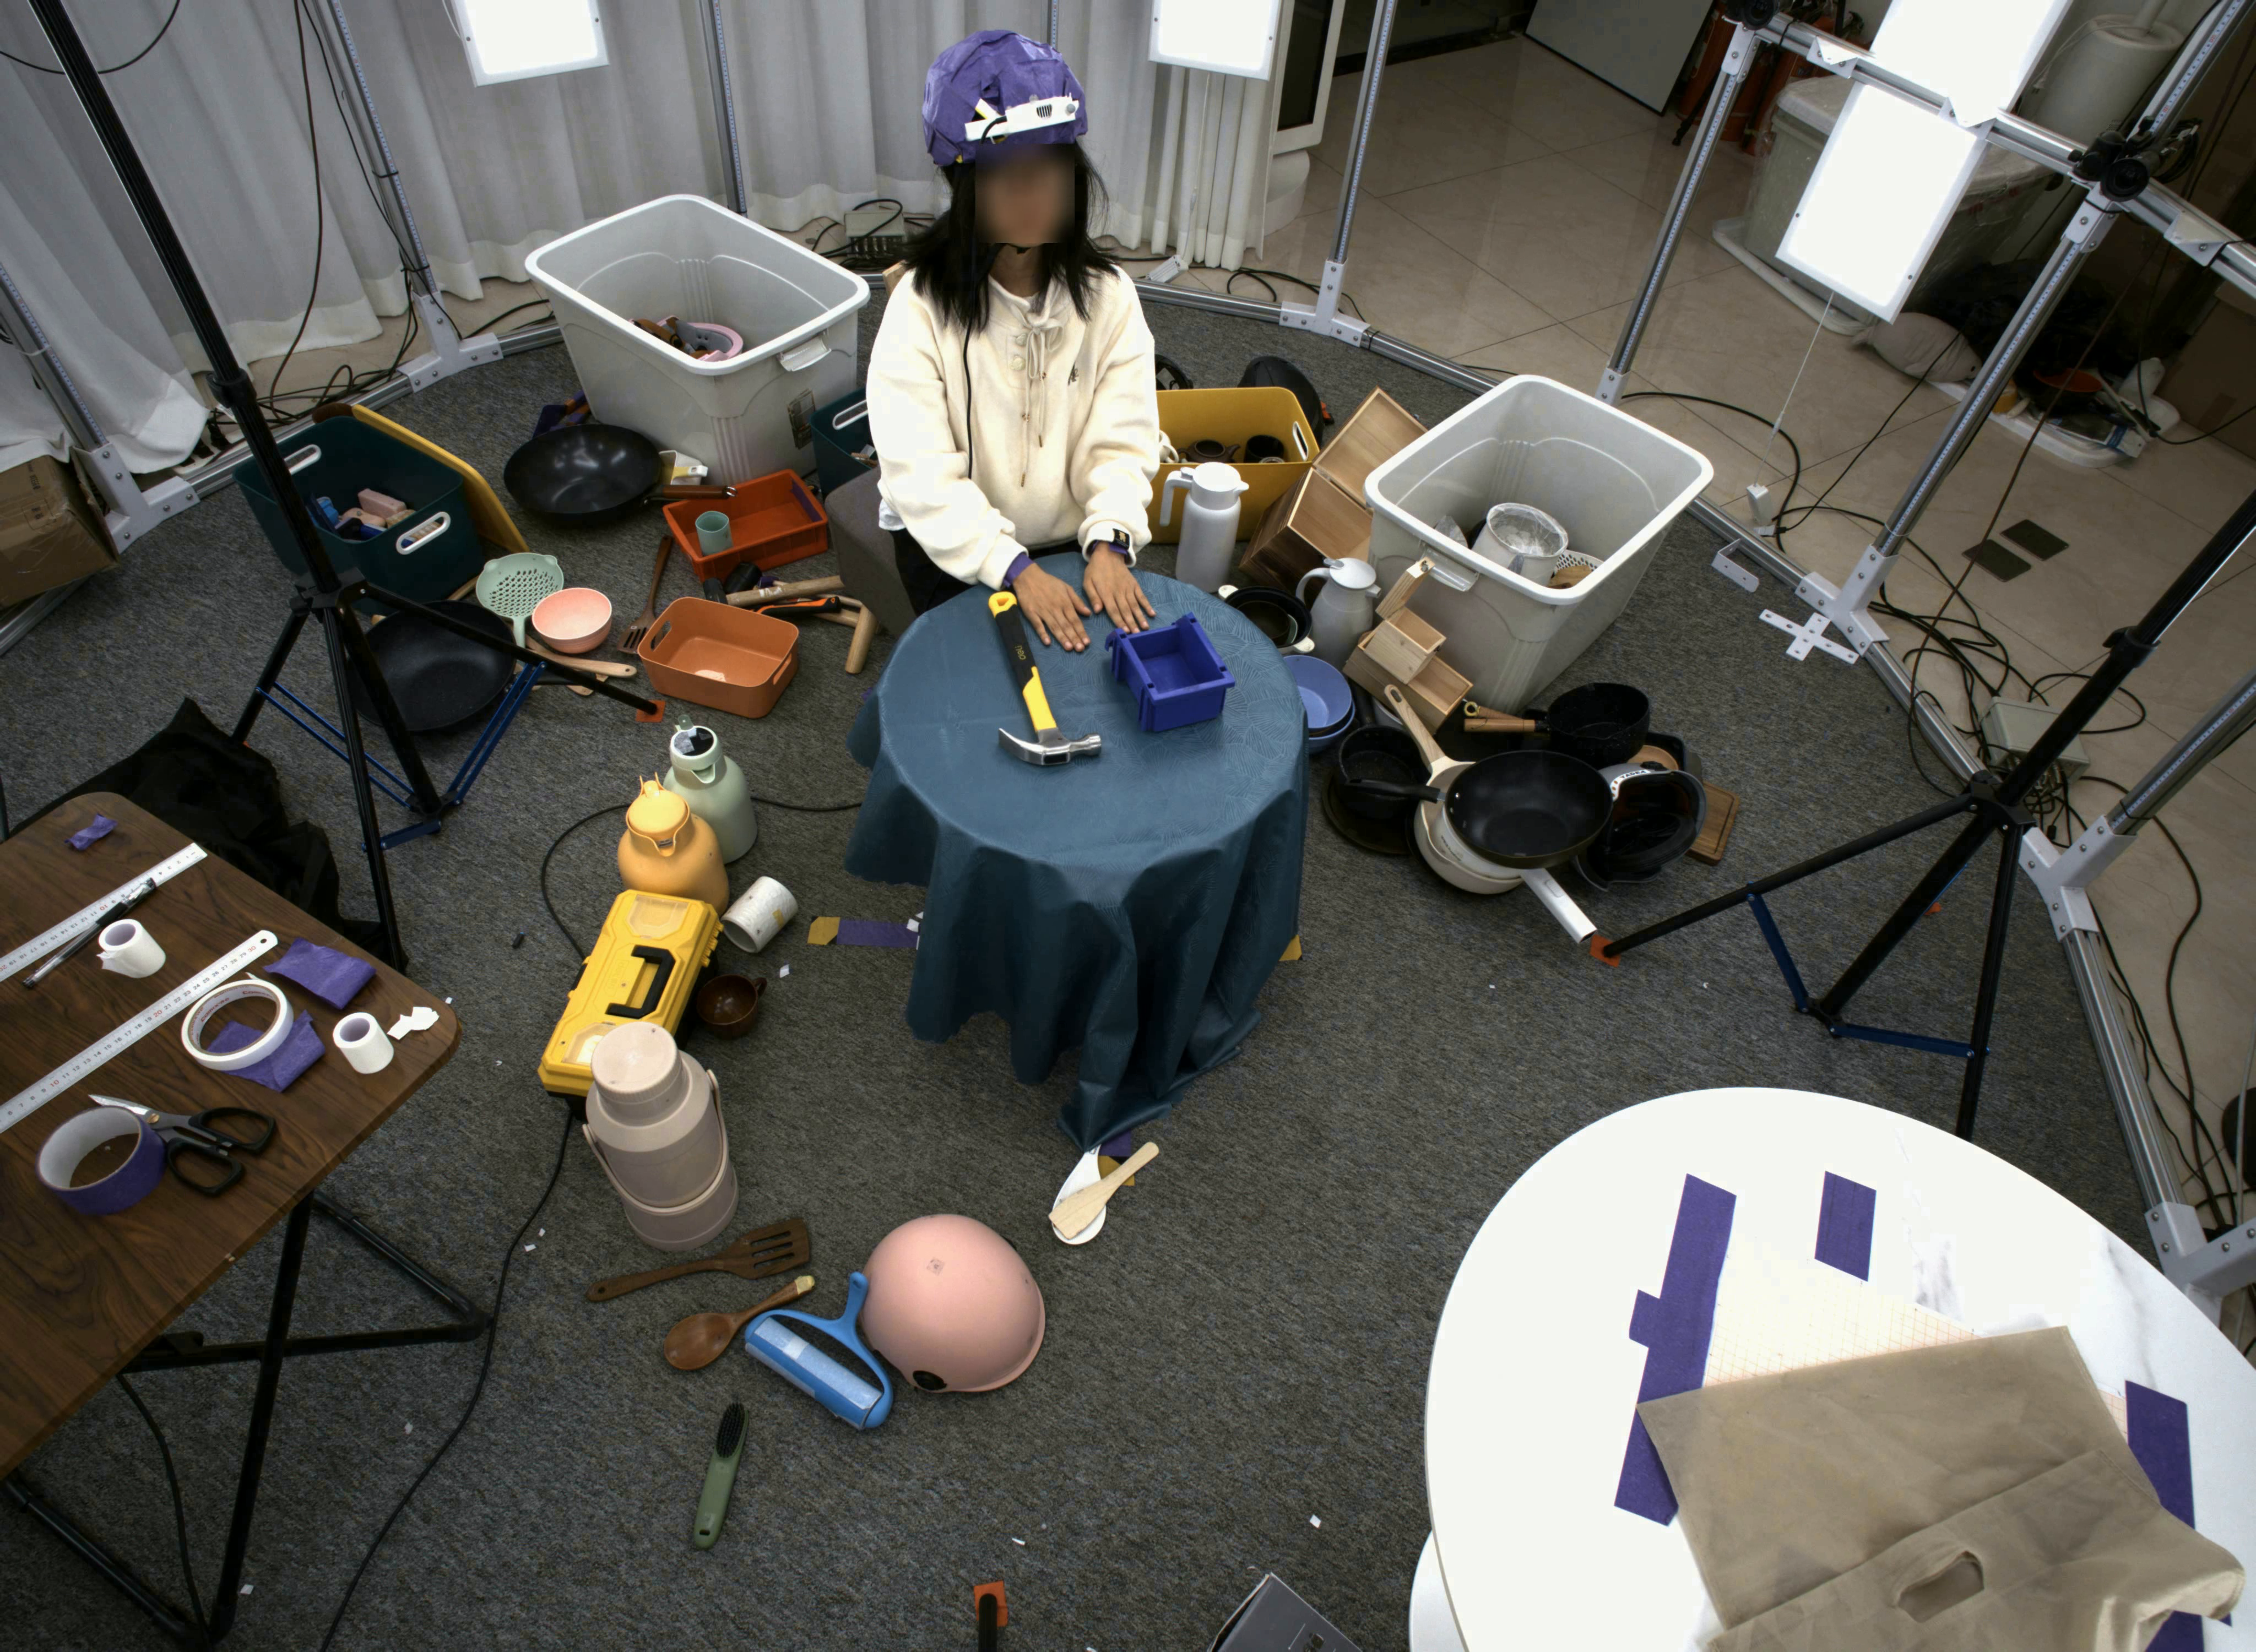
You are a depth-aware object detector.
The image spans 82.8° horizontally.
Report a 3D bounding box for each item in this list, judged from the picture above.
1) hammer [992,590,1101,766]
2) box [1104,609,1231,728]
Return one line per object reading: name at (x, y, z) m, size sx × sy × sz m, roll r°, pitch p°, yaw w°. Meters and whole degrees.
hammer at (-0.141, -0.218, 1.828) m, size 0.131 × 0.031 × 0.347 m, roll -10°, pitch 51°, yaw -11°
box at (0.050, -0.229, 1.820) m, size 0.124 × 0.080 × 0.183 m, roll -14°, pitch 53°, yaw -15°
